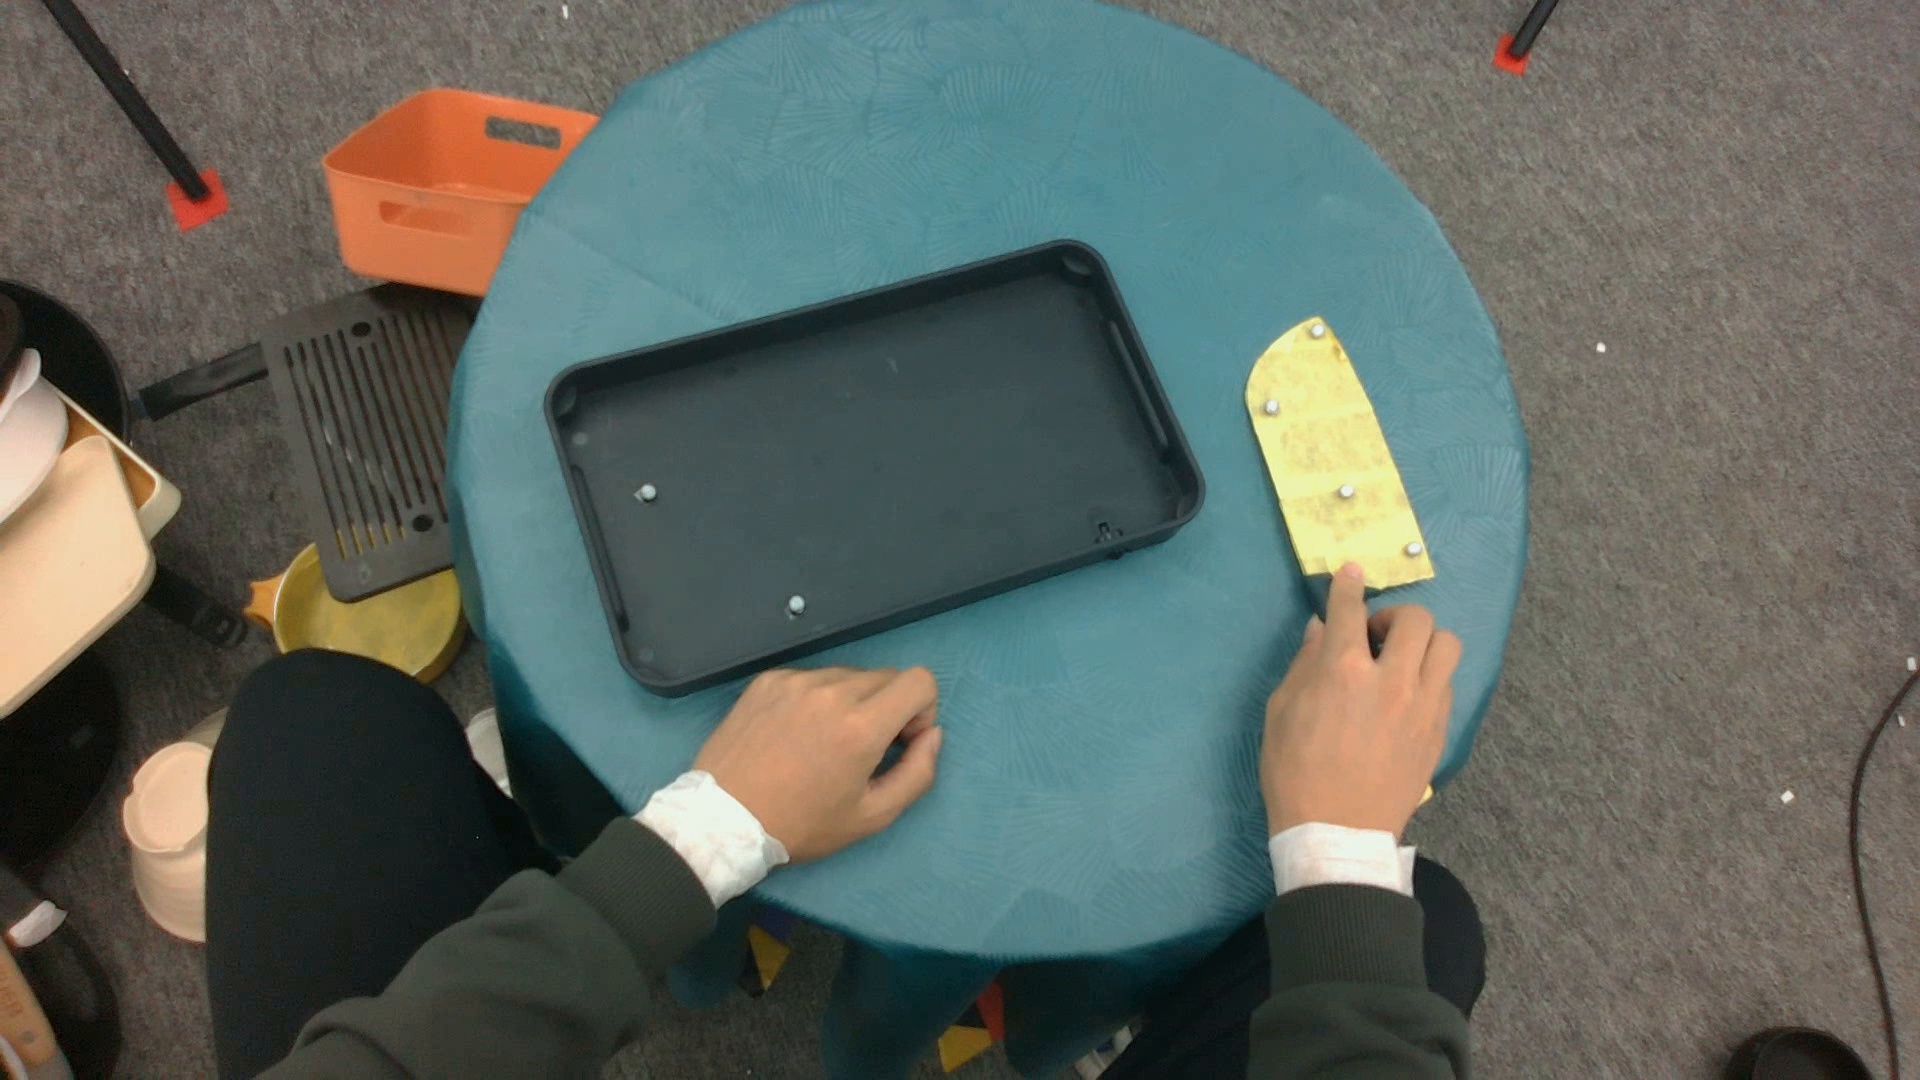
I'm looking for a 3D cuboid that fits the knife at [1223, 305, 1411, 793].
[{"bbox_3d":[0.208,-0.005,0.763,0.081,0.027,0.290,-8,70,-8],"label":"knife"}]

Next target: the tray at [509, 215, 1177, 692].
[{"bbox_3d":[-0.058,-0.052,0.733,0.318,0.037,0.184,-19,74,-14],"label":"tray"}]
